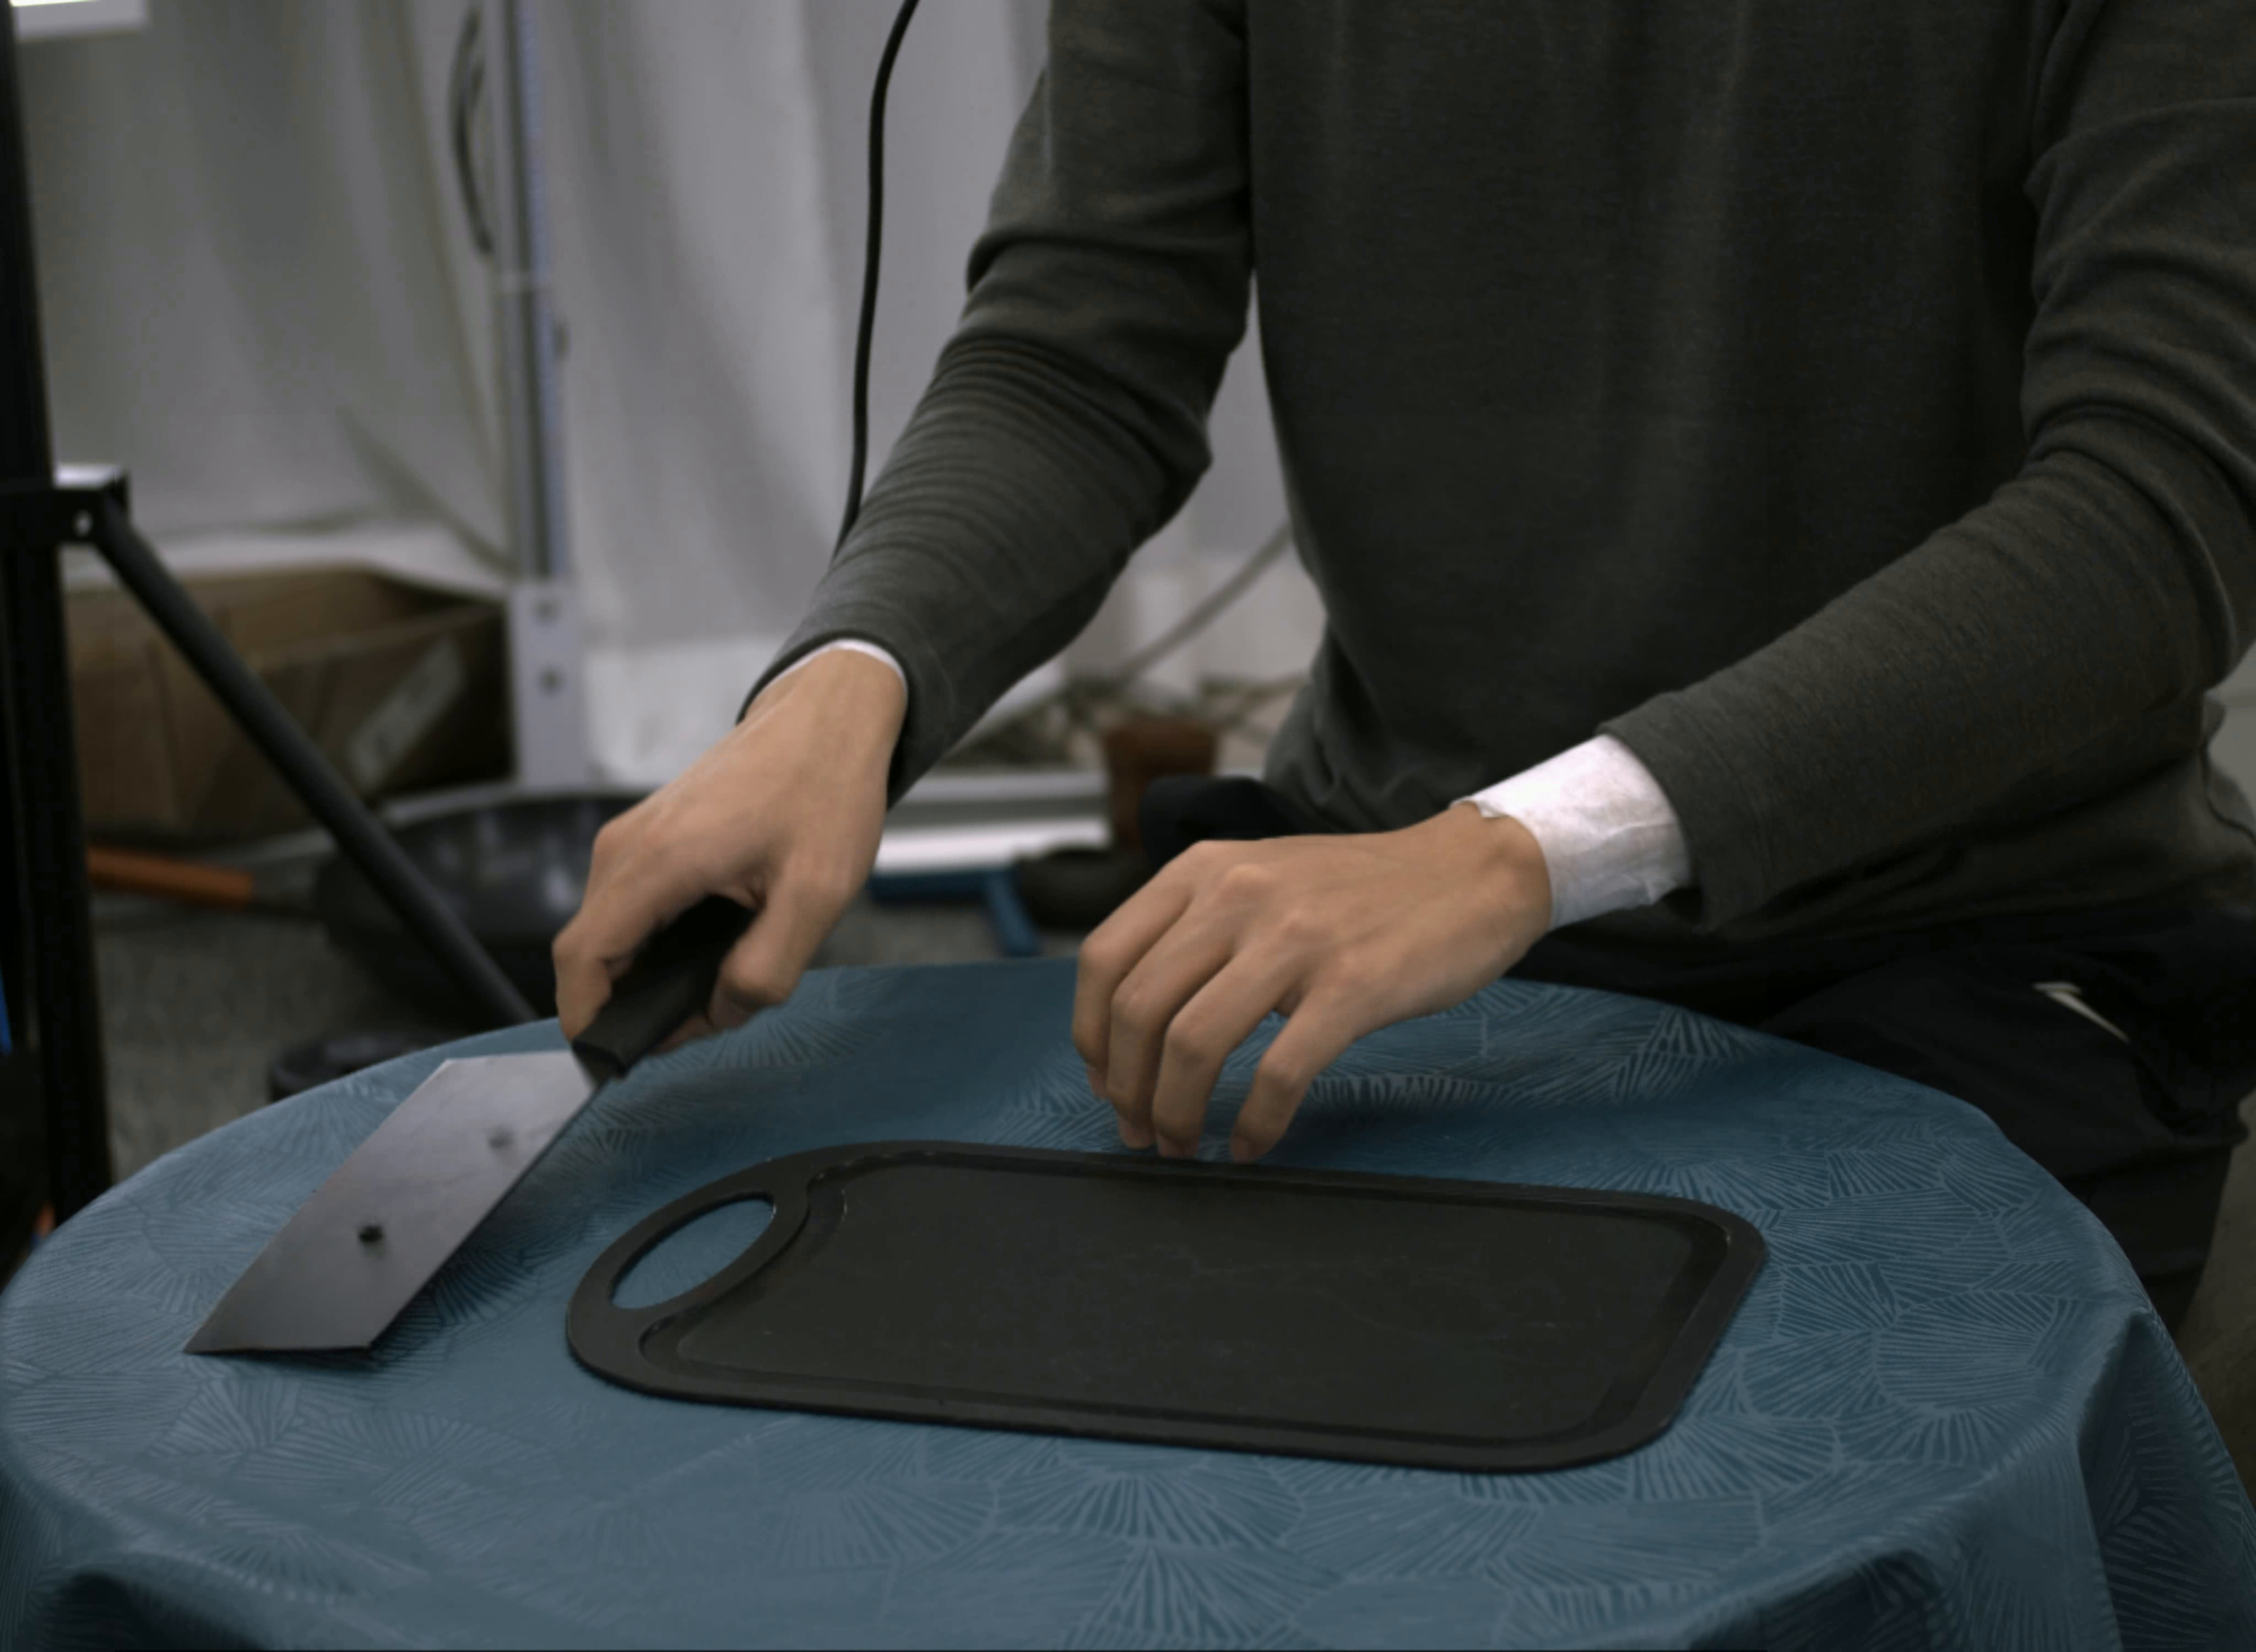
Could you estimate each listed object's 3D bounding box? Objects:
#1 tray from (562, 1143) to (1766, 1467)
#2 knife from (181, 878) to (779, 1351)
[{"bbox_3d":[0.005,0.129,1.477,0.329,0.010,0.208,3,16,20],"label":"tray"},{"bbox_3d":[-0.182,0.084,1.585,0.082,0.021,0.299,1,24,26],"label":"knife"}]
